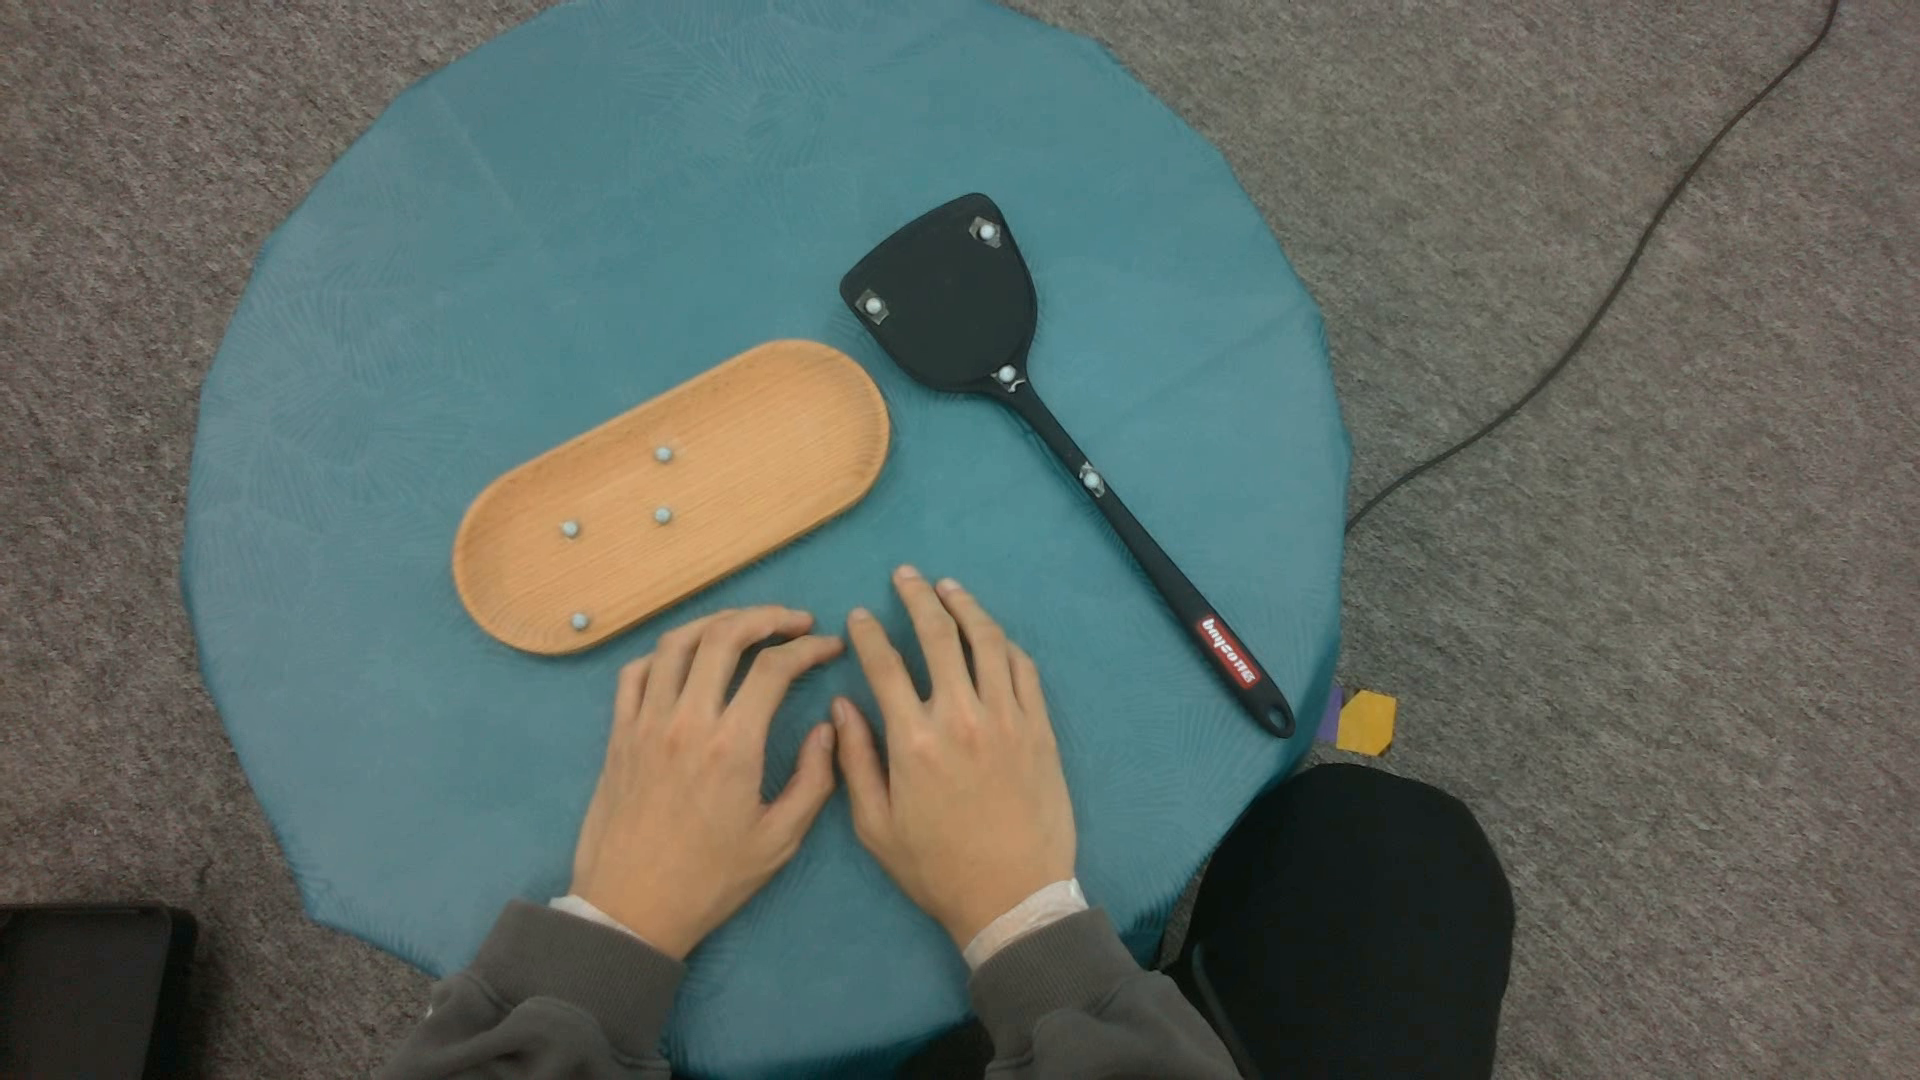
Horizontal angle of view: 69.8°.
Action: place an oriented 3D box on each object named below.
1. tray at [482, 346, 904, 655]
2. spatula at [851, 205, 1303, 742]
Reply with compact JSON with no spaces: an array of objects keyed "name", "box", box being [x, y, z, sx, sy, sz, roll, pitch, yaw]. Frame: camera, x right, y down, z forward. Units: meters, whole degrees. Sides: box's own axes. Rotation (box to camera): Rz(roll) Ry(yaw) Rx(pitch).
[{"name":"tray","box":[-0.136,-0.022,0.717,0.231,0.020,0.102,-29,76,-10]},{"name":"spatula","box":[0.072,-0.029,0.713,0.100,0.040,0.326,-36,77,-10]}]
